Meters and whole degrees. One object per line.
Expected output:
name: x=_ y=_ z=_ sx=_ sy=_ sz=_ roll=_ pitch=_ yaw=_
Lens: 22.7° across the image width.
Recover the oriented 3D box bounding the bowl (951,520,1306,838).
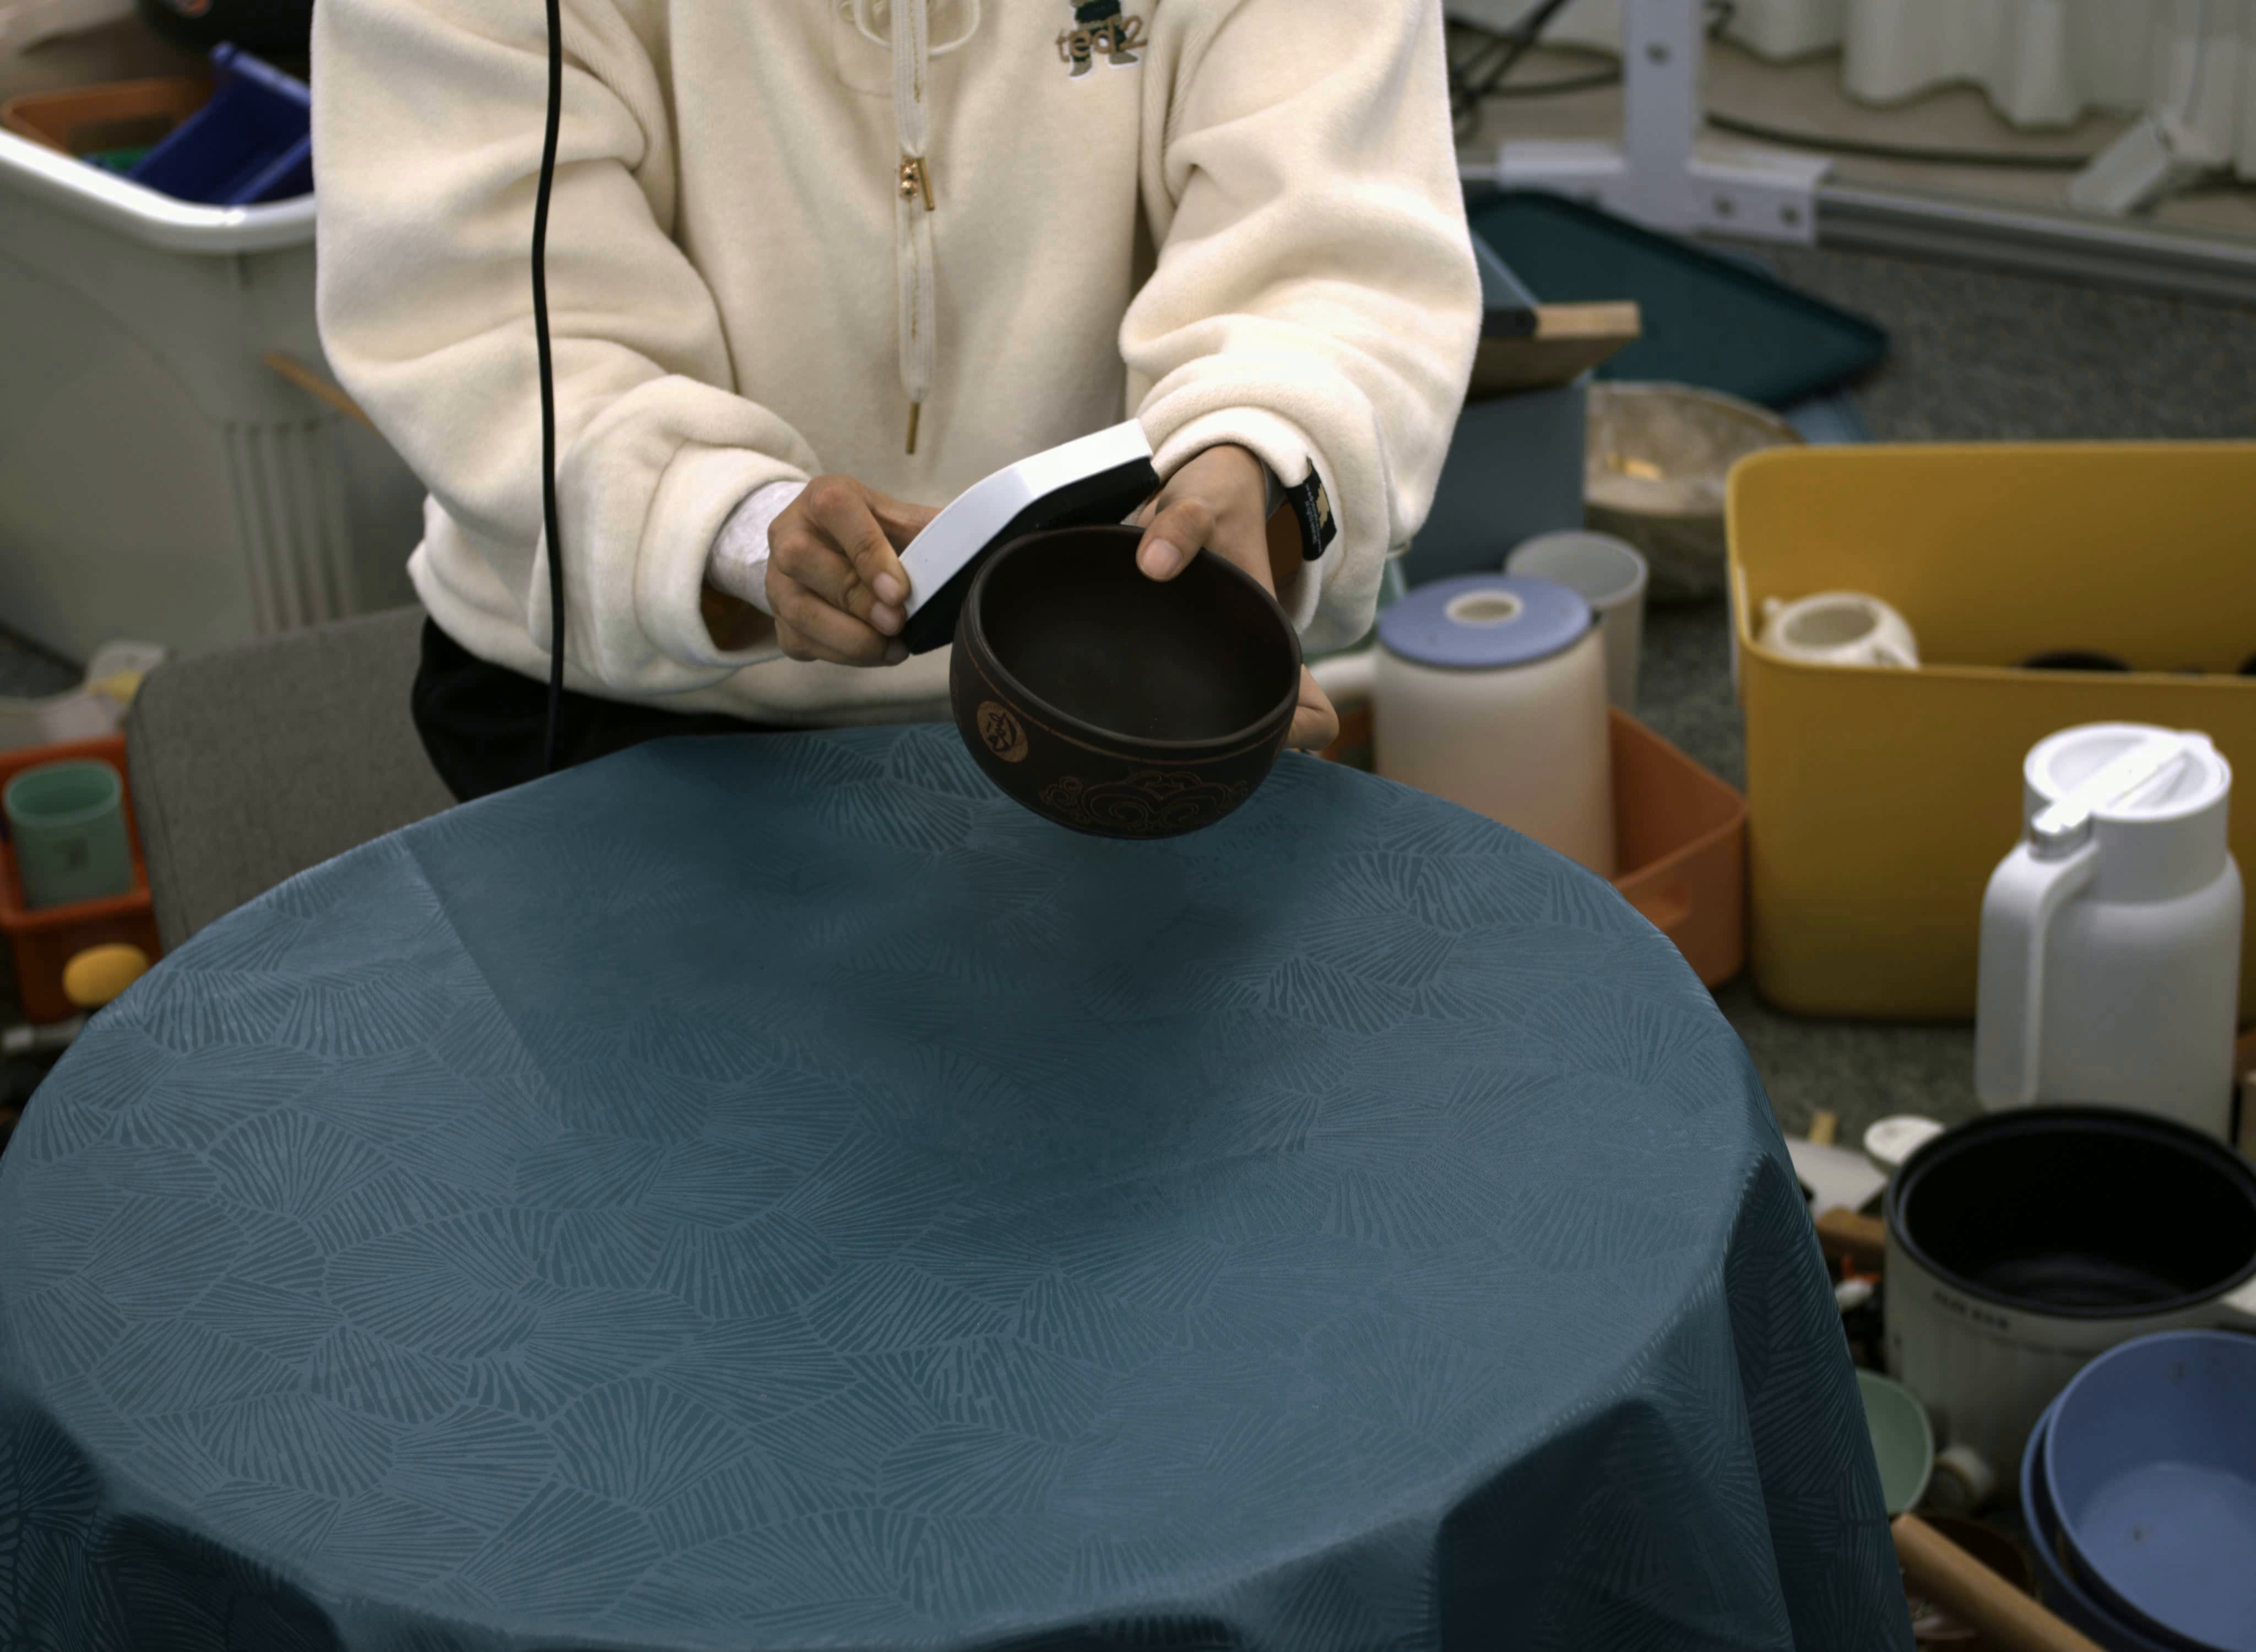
bowl: x=-0.004 y=-0.041 z=1.894 sx=0.117 sy=0.069 sz=0.120 roll=11 pitch=38 yaw=-9

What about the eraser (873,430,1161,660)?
eraser: x=-0.038 y=-0.101 z=1.968 sx=0.064 sy=0.035 sz=0.129 roll=-21 pitch=-10 yaw=-34
